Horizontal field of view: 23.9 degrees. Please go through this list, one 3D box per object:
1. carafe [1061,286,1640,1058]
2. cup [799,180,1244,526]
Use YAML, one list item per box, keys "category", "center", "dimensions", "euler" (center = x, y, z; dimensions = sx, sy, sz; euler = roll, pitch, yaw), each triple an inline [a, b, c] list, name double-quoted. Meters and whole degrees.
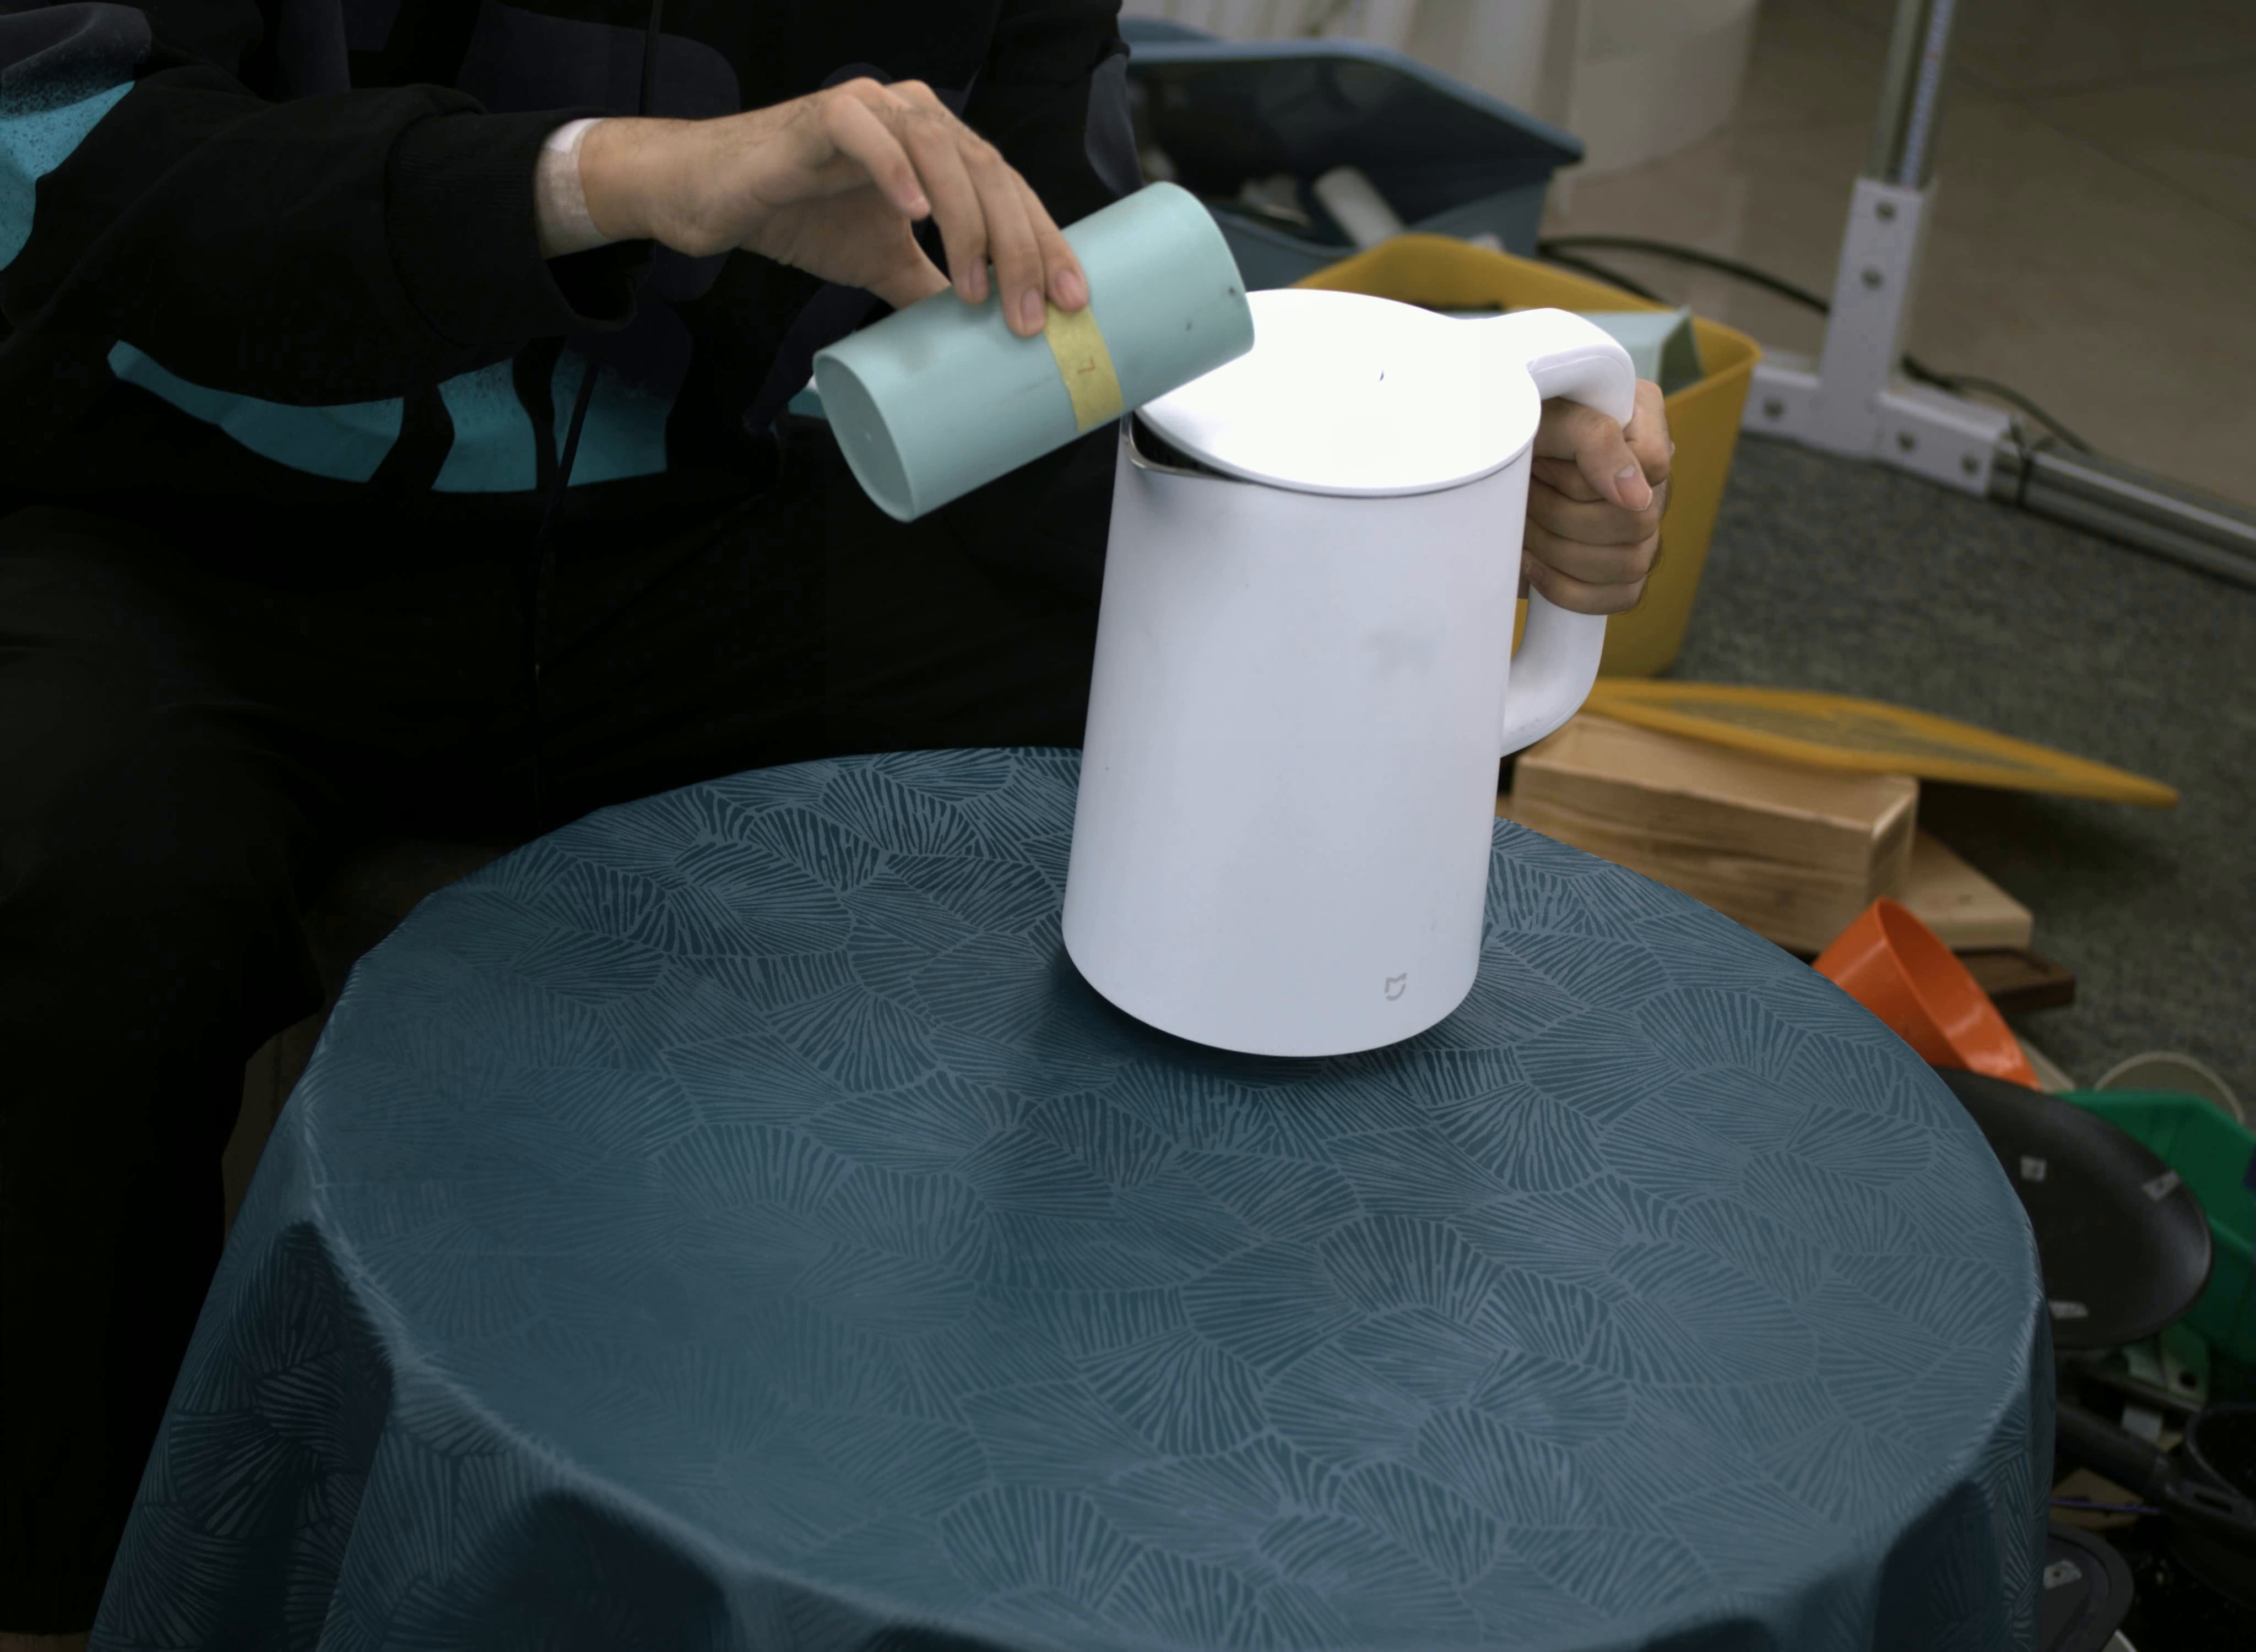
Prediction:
- category: "carafe"
  center: [0.083, -0.061, 1.884]
  dimensions: [0.212, 0.239, 0.153]
  euler: [-17, 38, -30]
- category: "cup"
  center: [-0.035, -0.154, 1.734]
  dimensions: [0.132, 0.066, 0.067]
  euler: [-29, 38, -15]
